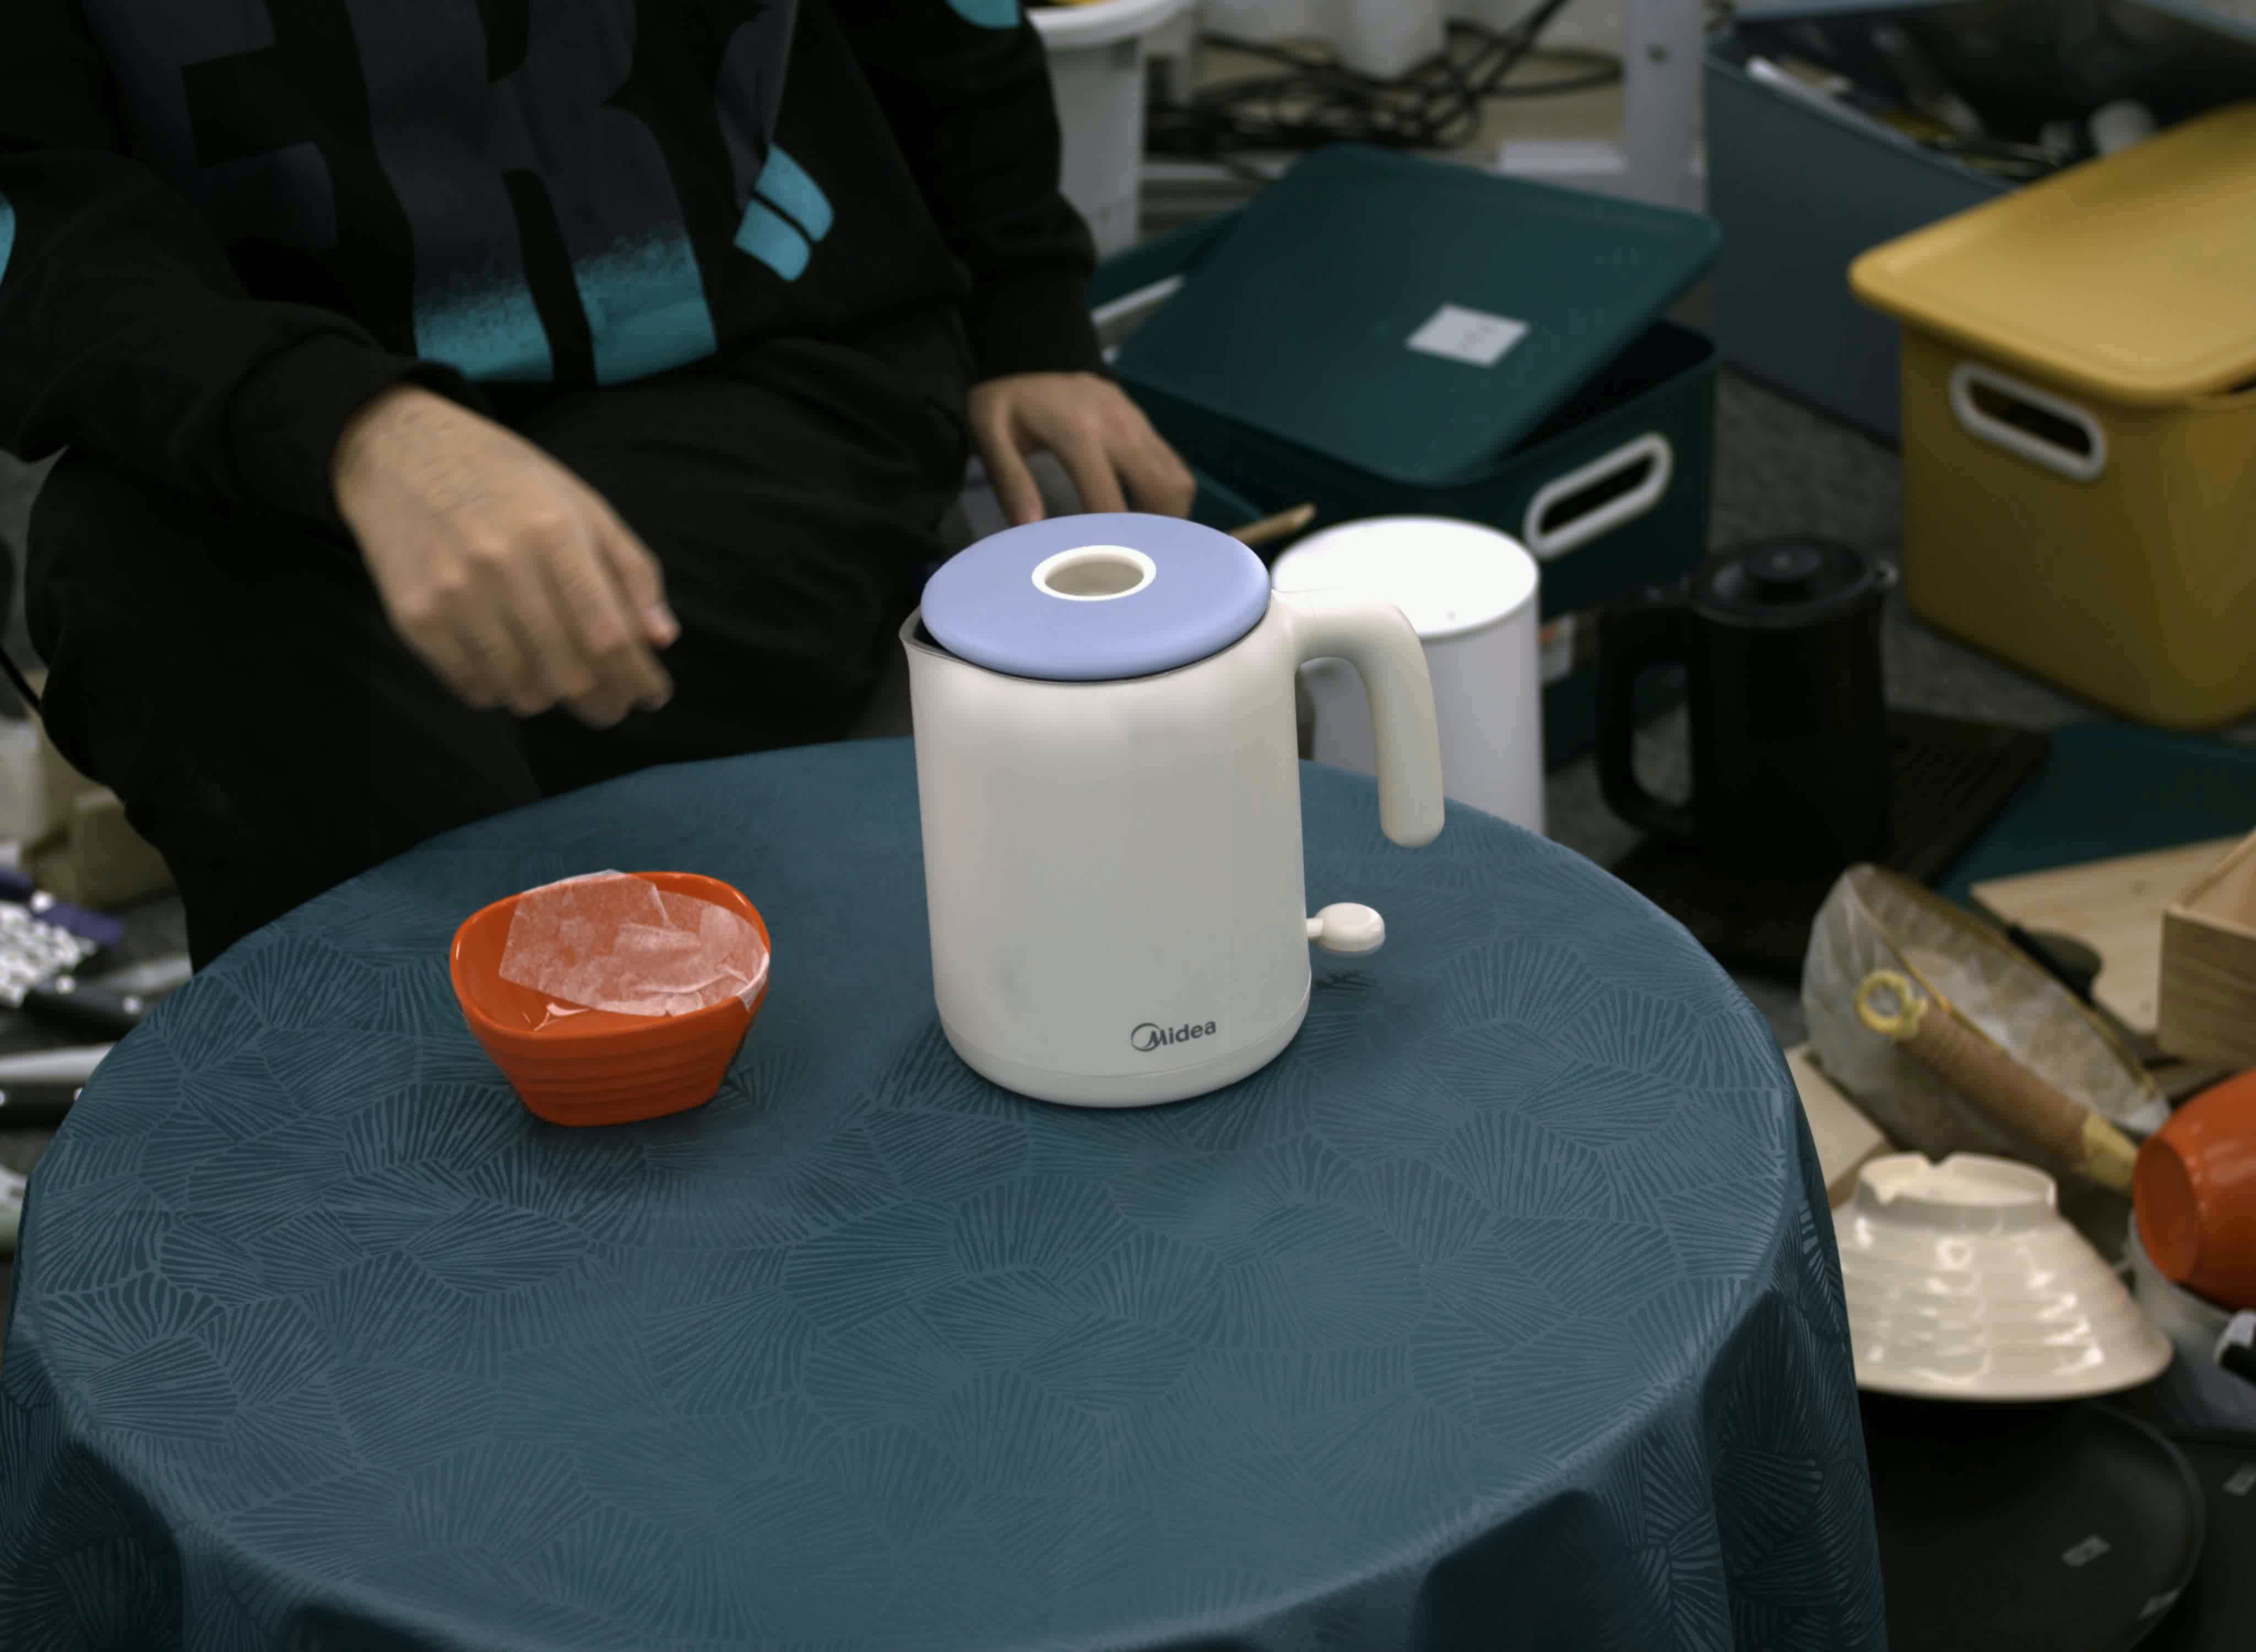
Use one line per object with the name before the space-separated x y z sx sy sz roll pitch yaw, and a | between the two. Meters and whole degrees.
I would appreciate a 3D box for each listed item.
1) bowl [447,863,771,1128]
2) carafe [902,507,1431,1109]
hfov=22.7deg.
bowl | -0.176 0.063 1.932 0.118 0.051 0.121 -3 30 2
carafe | 0.016 -0.010 1.931 0.191 0.180 0.133 -9 28 -17
